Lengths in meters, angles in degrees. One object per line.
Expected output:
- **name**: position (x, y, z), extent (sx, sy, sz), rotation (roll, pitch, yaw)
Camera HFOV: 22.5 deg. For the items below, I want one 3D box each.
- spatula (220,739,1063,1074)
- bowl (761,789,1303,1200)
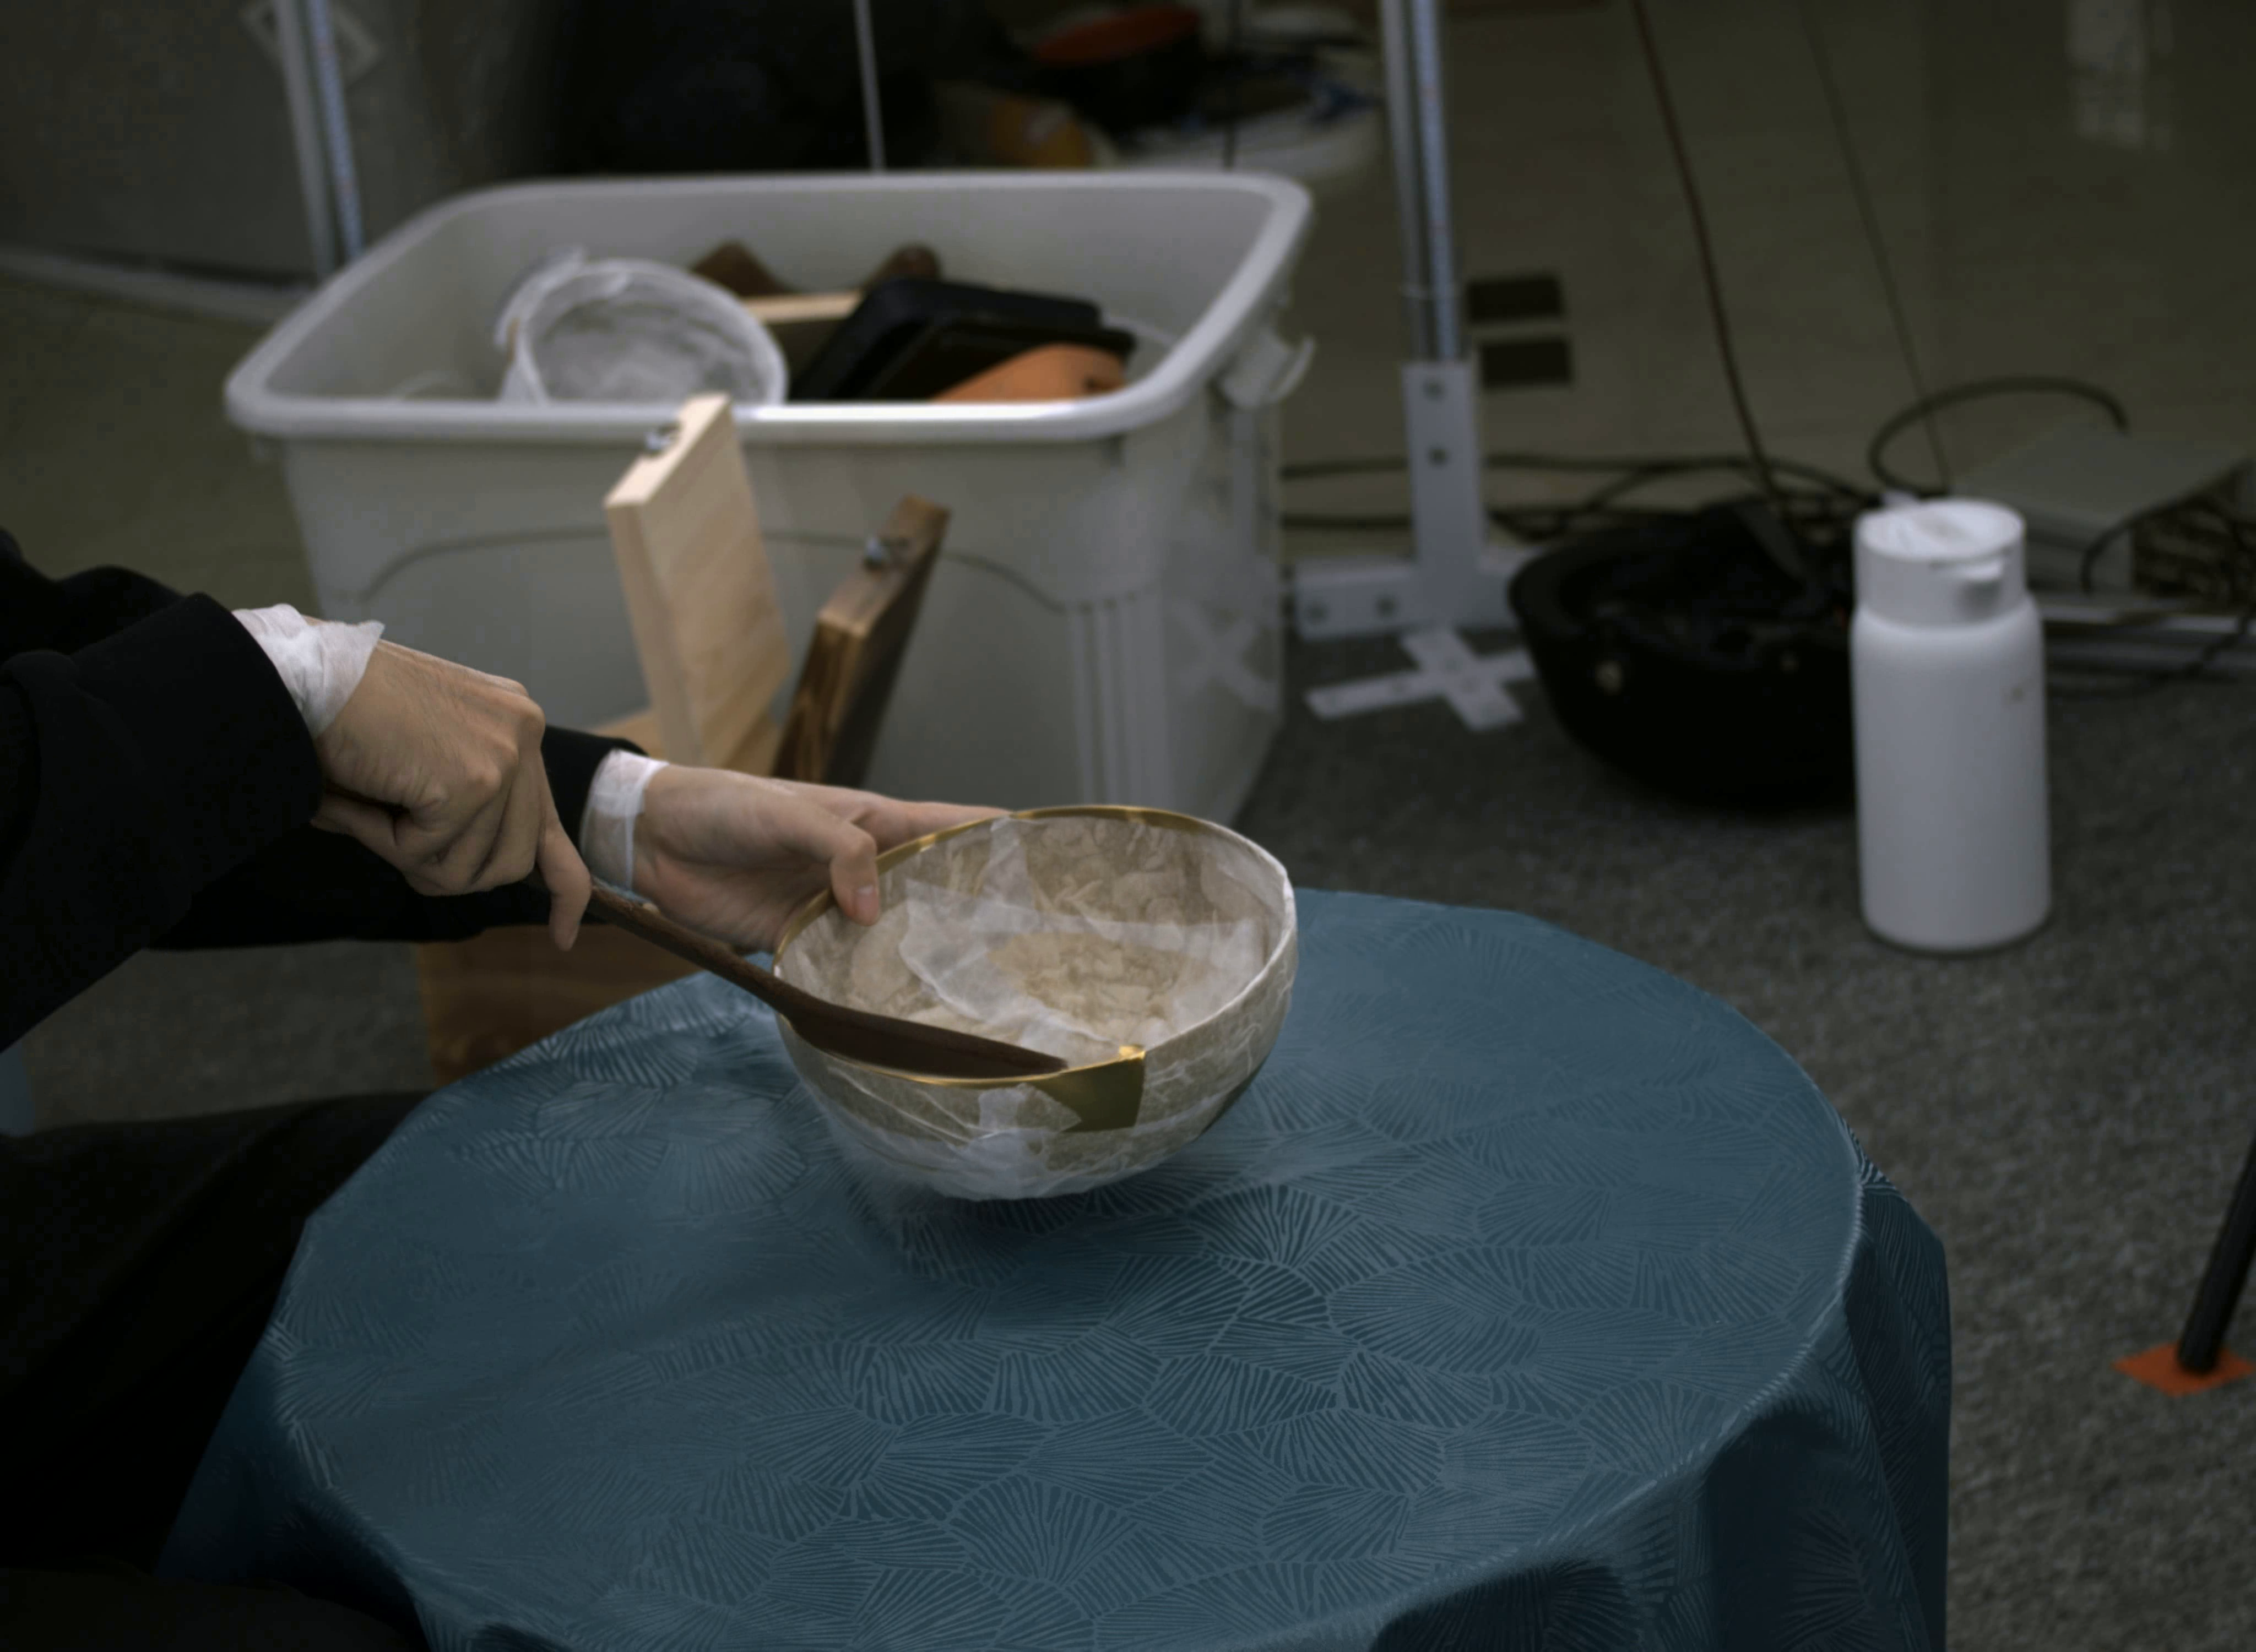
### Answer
- **spatula**: position (-0.174, 0.034, 2.040), extent (0.096, 0.015, 0.389), rotation (2, -18, 45)
- **bowl**: position (-0.031, 0.079, 2.162), extent (0.214, 0.096, 0.211), rotation (-9, 31, 5)
